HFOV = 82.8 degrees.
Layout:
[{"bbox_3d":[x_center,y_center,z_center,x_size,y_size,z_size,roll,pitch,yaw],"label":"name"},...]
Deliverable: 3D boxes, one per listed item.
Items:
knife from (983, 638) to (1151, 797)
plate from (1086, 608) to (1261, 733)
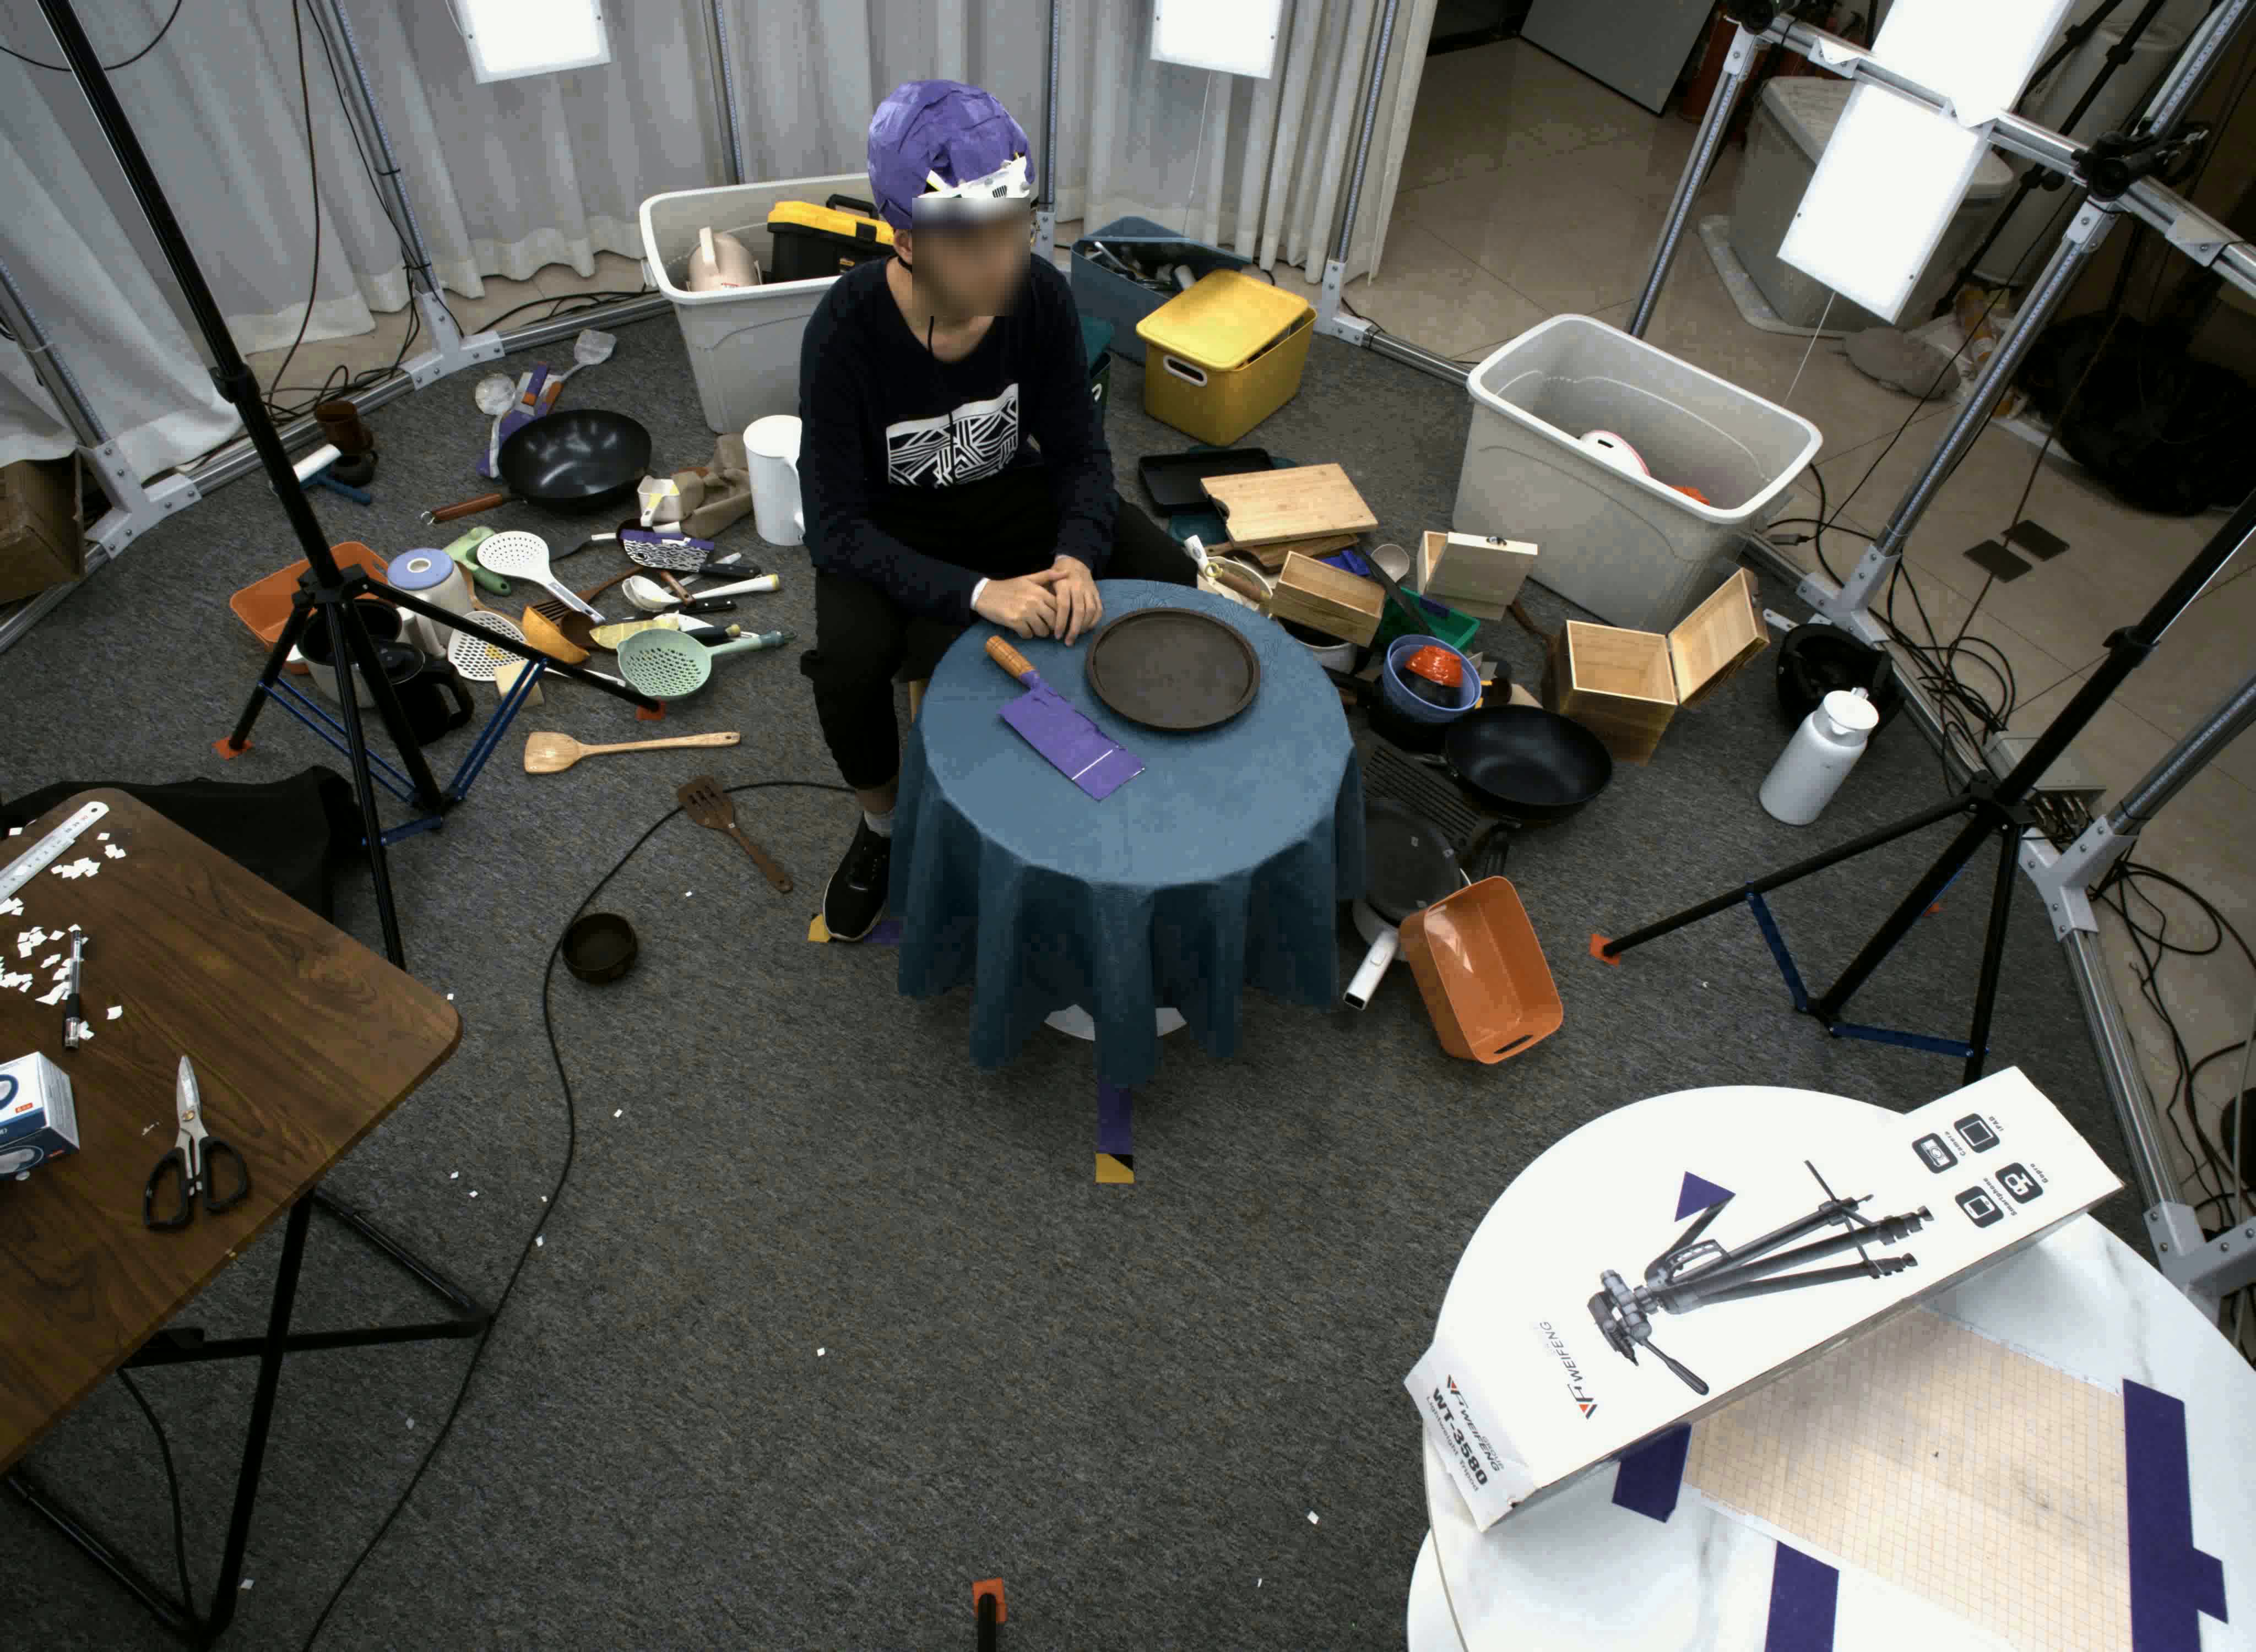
[{"bbox_3d":[-0.112,-0.154,1.775,0.105,0.031,0.320,-34,60,-29],"label":"knife"},{"bbox_3d":[0.066,-0.226,1.852,0.254,0.028,0.261,2,50,-3],"label":"plate"}]
